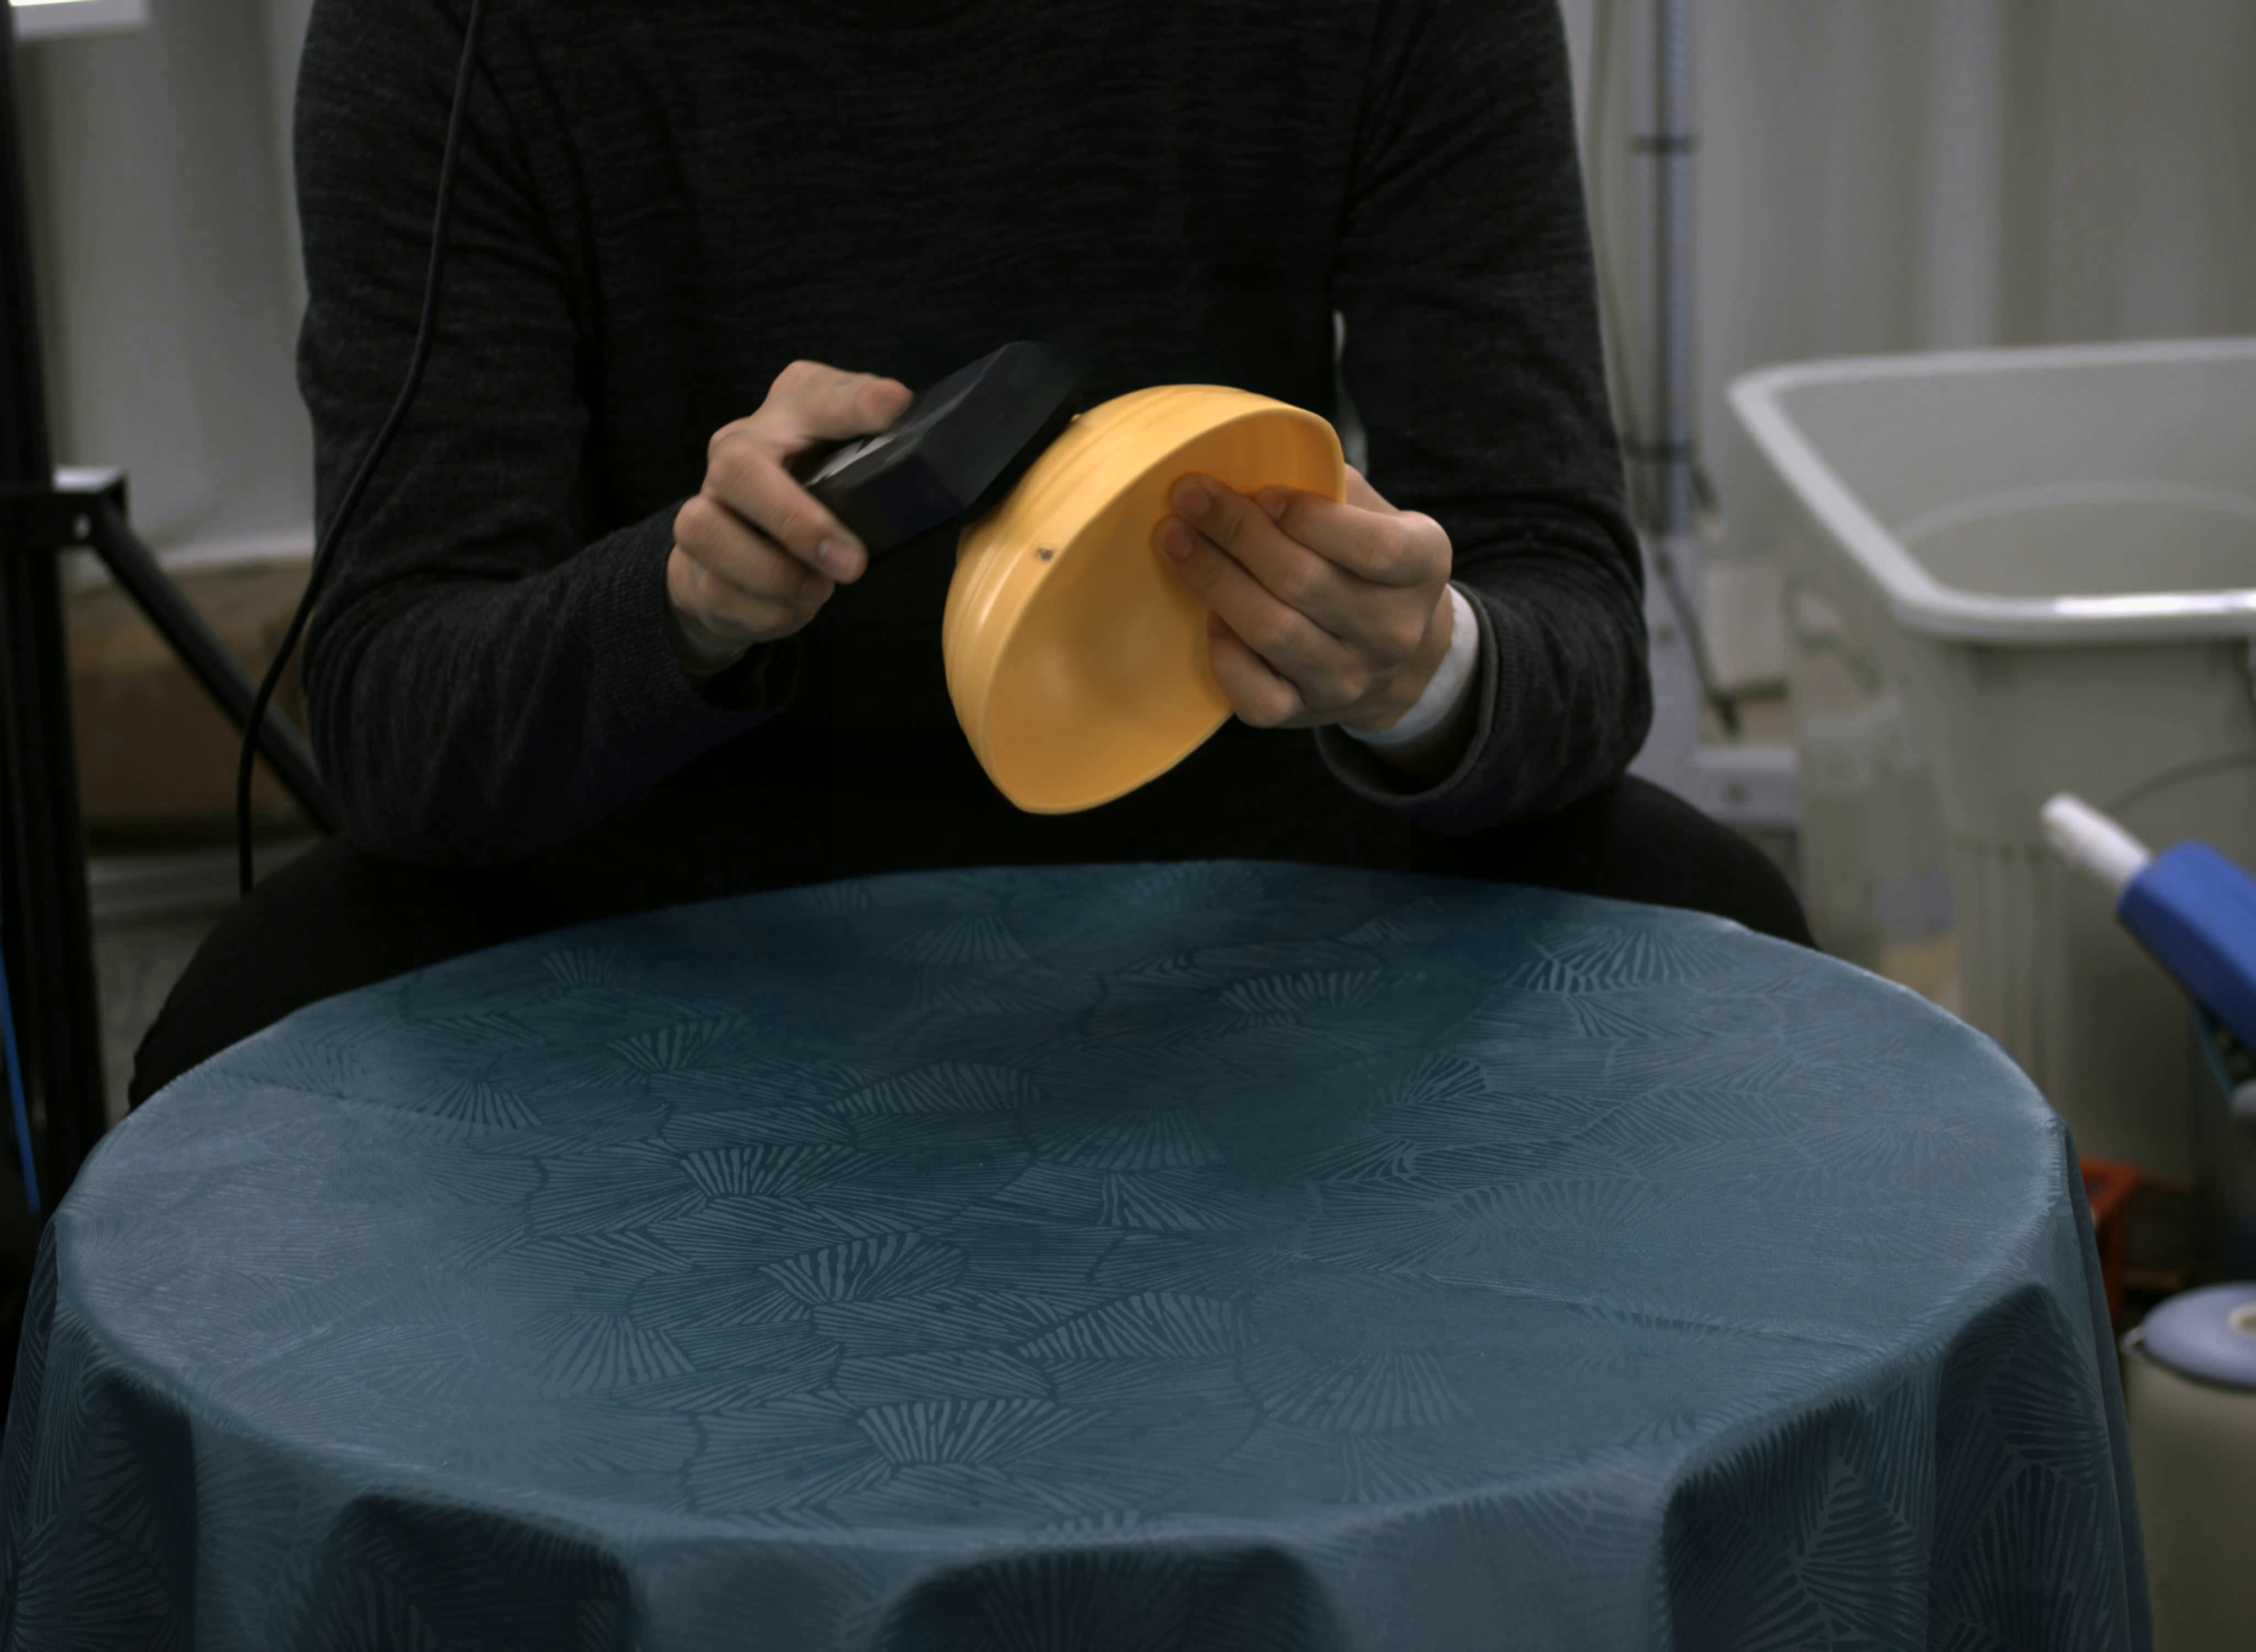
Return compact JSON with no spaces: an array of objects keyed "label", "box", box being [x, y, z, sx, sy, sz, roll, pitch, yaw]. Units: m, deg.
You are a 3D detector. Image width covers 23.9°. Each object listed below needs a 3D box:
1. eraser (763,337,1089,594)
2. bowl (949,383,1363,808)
[{"label":"eraser","box":[-0.061,-0.106,1.578,0.053,0.030,0.127,-46,12,-27]},{"label":"bowl","box":[-0.004,-0.079,1.578,0.142,0.146,0.061,-16,49,-41]}]
